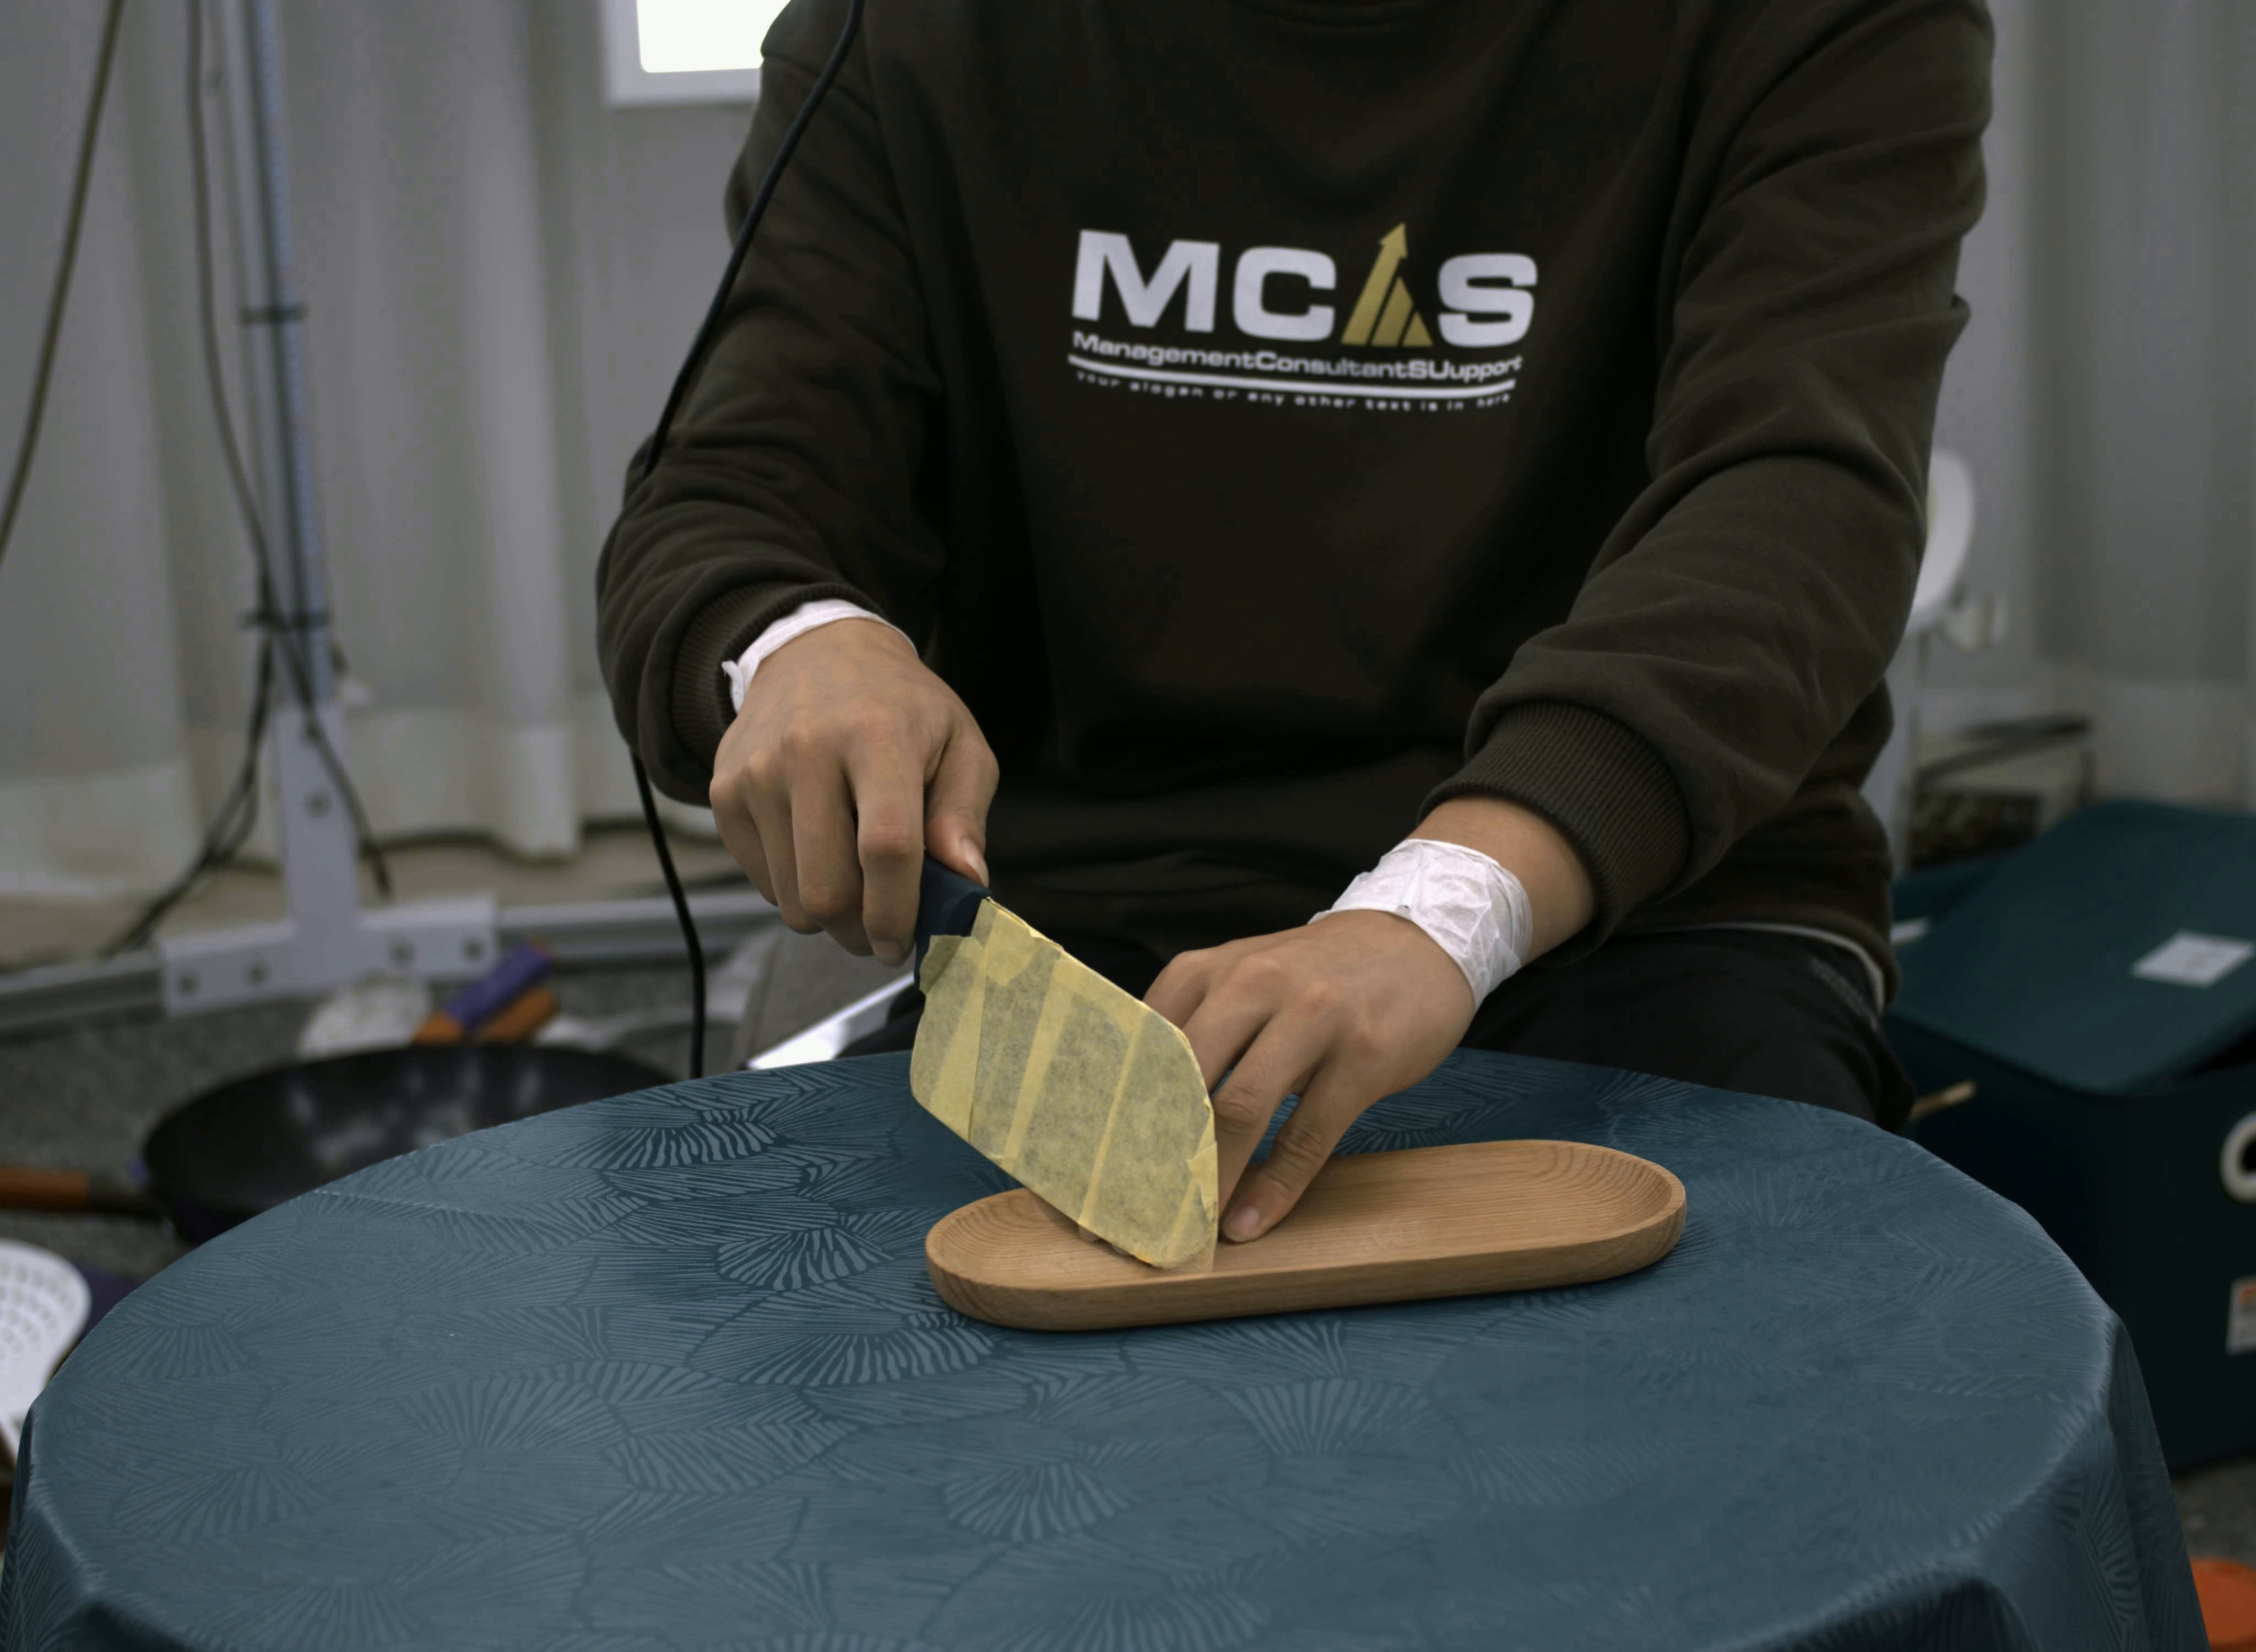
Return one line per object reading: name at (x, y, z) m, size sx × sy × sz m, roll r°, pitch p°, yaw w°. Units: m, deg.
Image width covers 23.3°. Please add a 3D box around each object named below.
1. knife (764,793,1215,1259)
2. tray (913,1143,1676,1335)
knife at (-0.046, 0.058, 1.710) m, size 0.027 × 0.081 × 0.293 m, roll 11°, pitch 16°, yaw -34°
tray at (0.050, 0.124, 1.641) m, size 0.230 × 0.020 × 0.102 m, roll -6°, pitch 14°, yaw -7°
